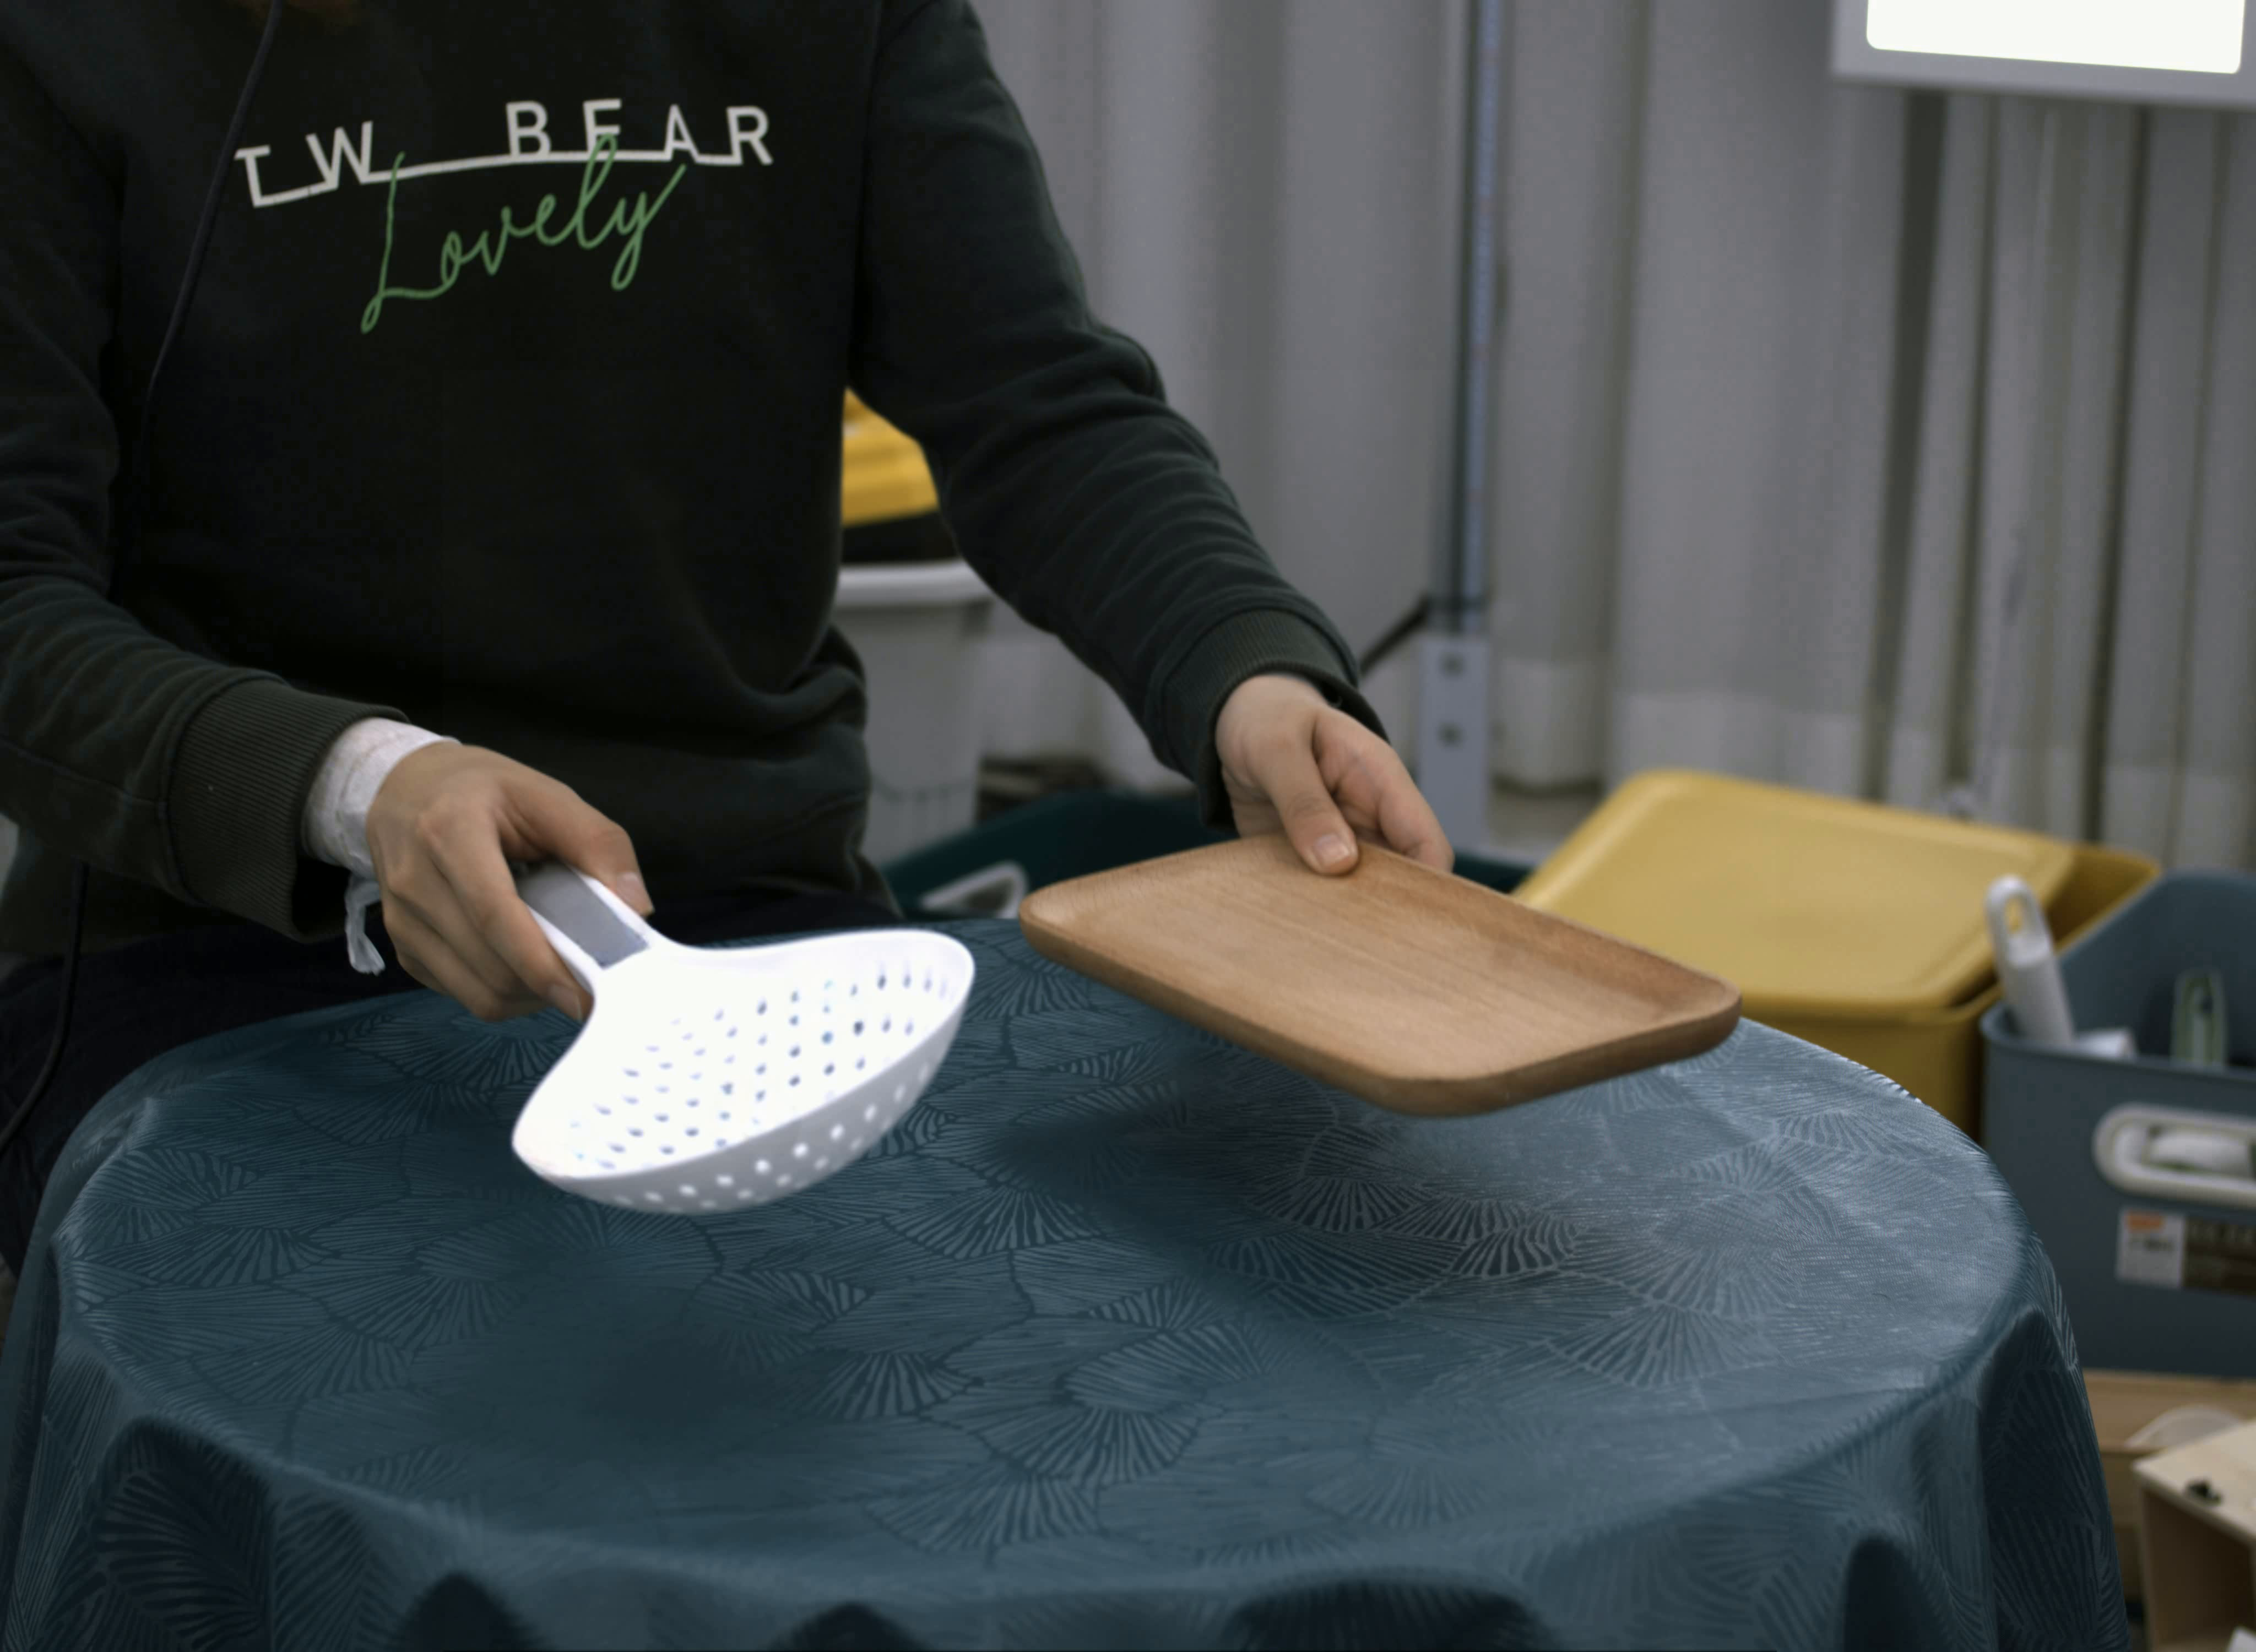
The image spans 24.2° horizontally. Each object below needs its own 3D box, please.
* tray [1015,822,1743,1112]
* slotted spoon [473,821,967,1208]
[{"bbox_3d":[0.072,0.041,1.609,0.131,0.023,0.247,-11,17,-30],"label":"tray"},{"bbox_3d":[-0.142,0.044,1.544,0.136,0.046,0.345,-25,24,-14],"label":"slotted spoon"}]
